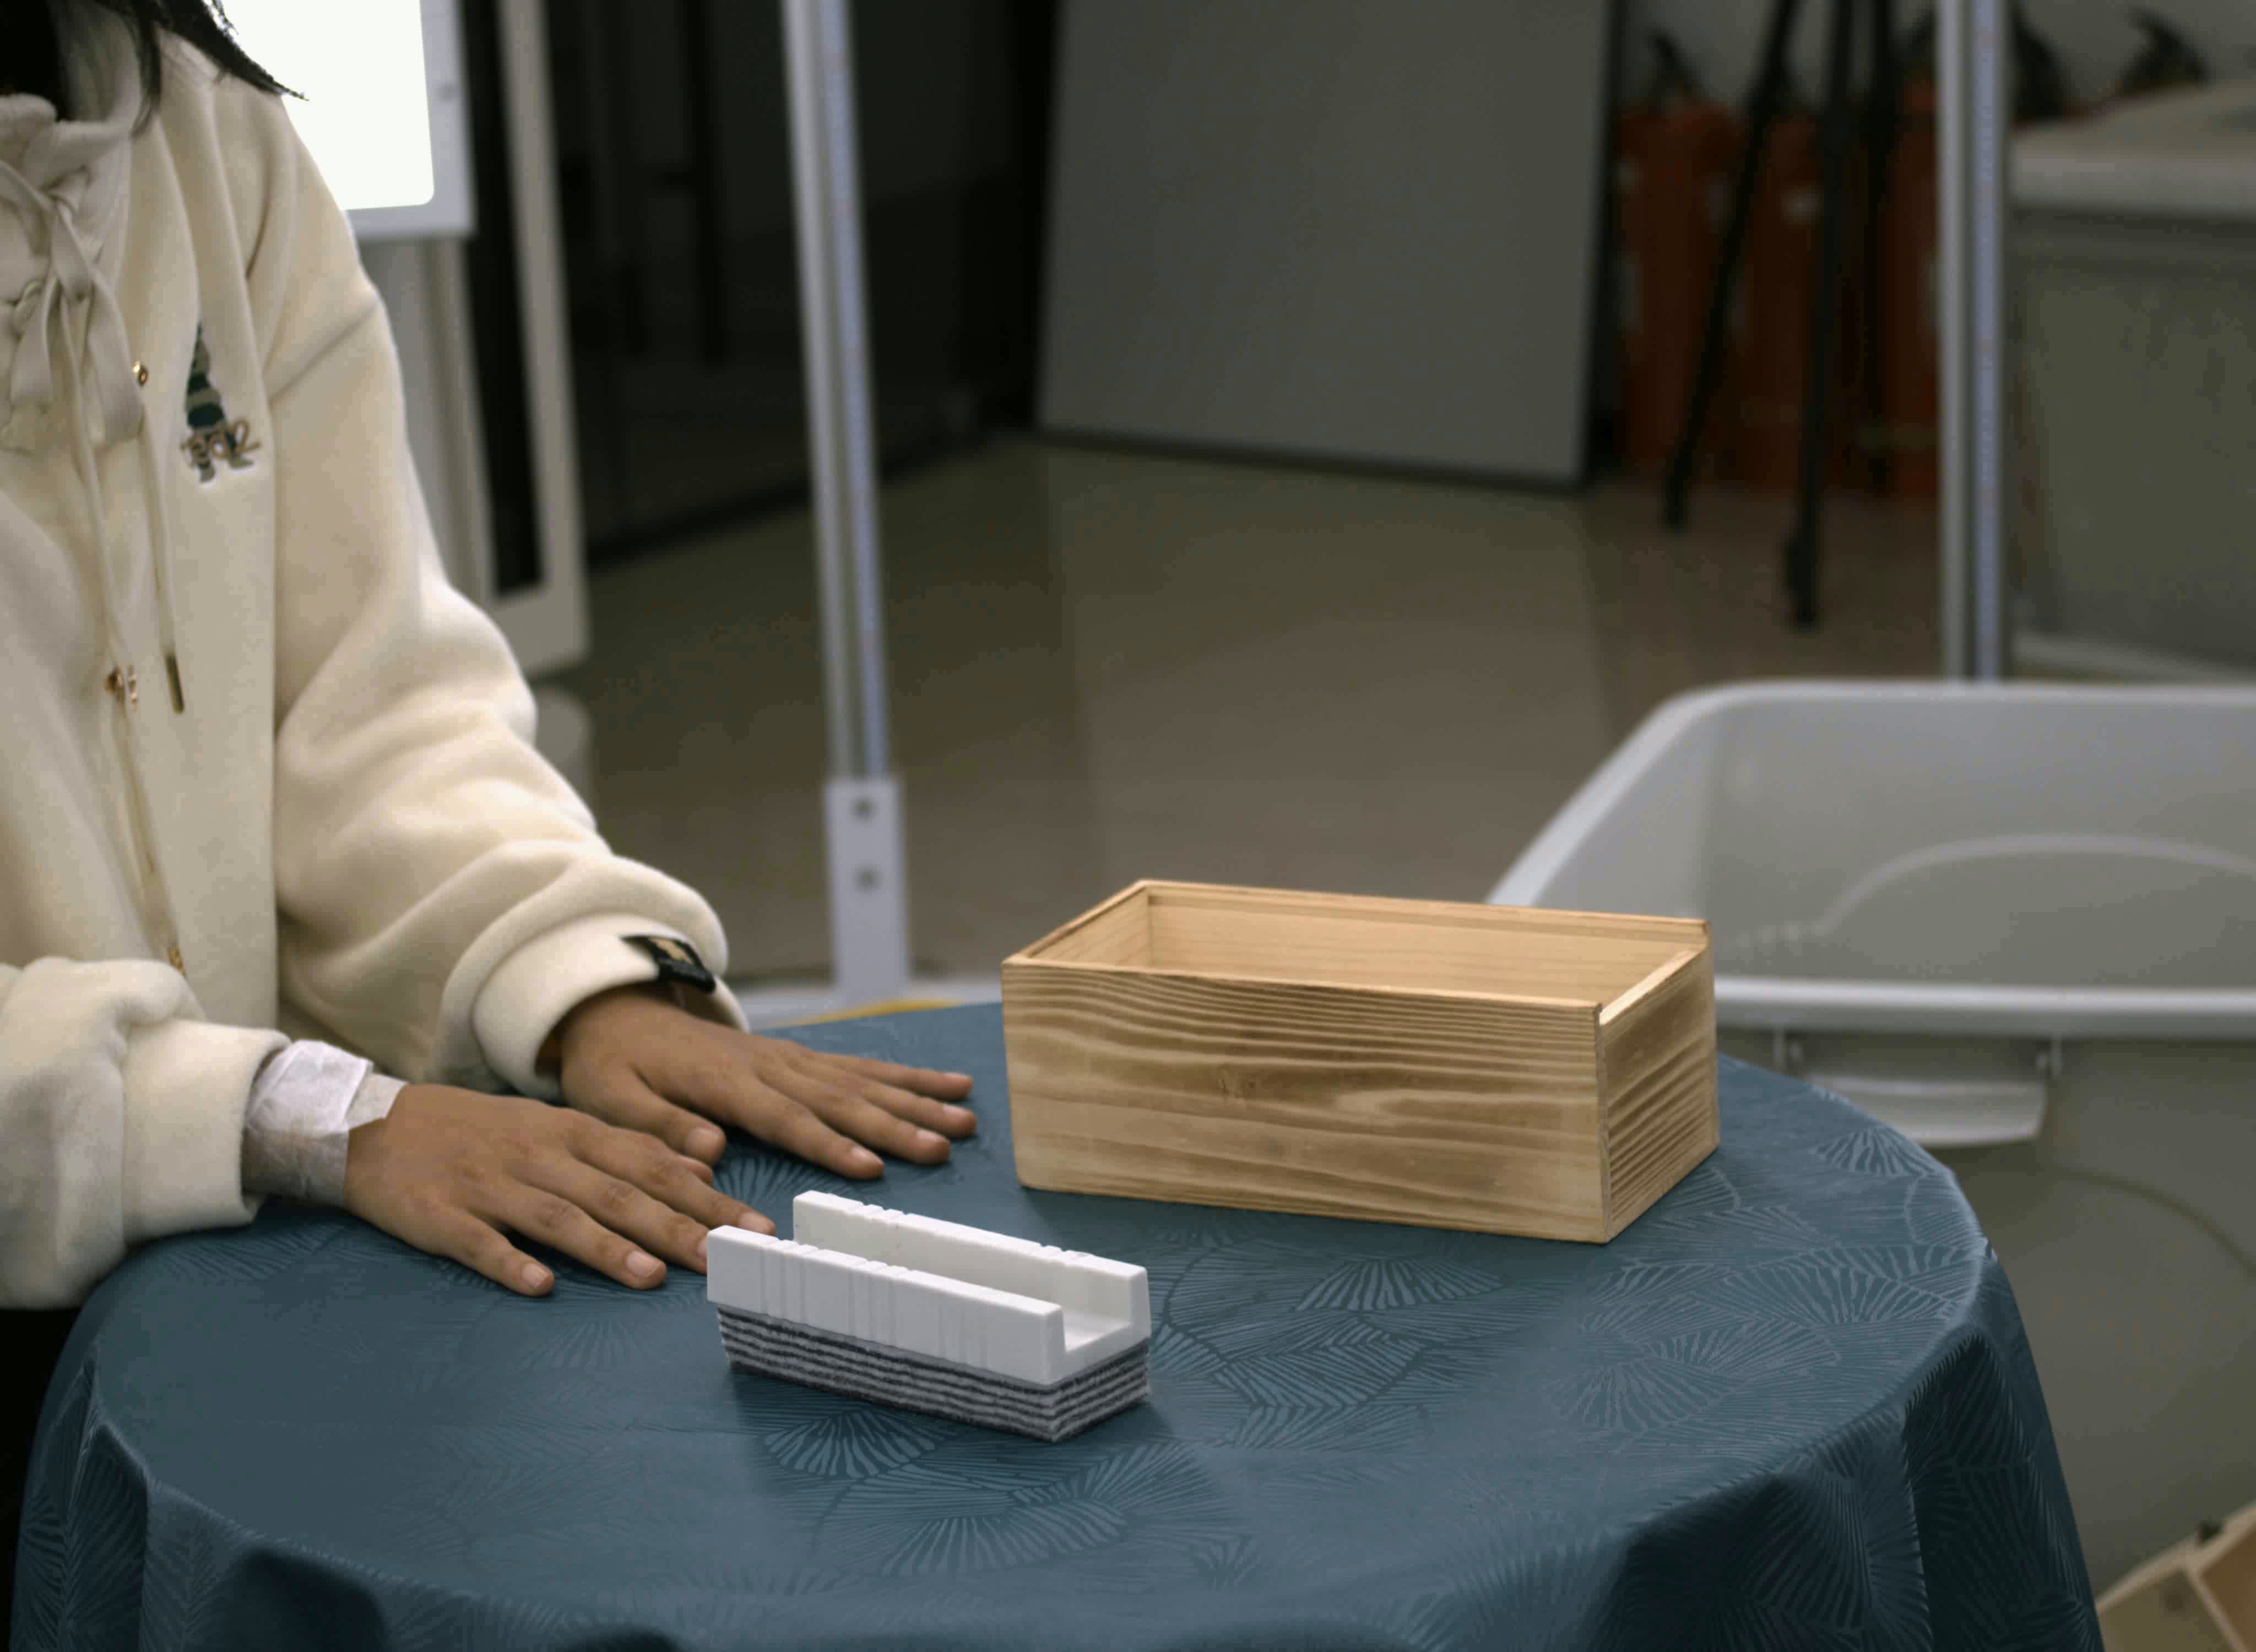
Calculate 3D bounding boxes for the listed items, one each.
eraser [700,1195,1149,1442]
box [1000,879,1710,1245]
[{"bbox_3d":[-0.060,0.144,1.593,0.135,0.047,0.049,8,20,37],"label":"eraser"},{"bbox_3d":[0.075,0.075,1.768,0.212,0.081,0.106,4,15,27],"label":"box"}]
